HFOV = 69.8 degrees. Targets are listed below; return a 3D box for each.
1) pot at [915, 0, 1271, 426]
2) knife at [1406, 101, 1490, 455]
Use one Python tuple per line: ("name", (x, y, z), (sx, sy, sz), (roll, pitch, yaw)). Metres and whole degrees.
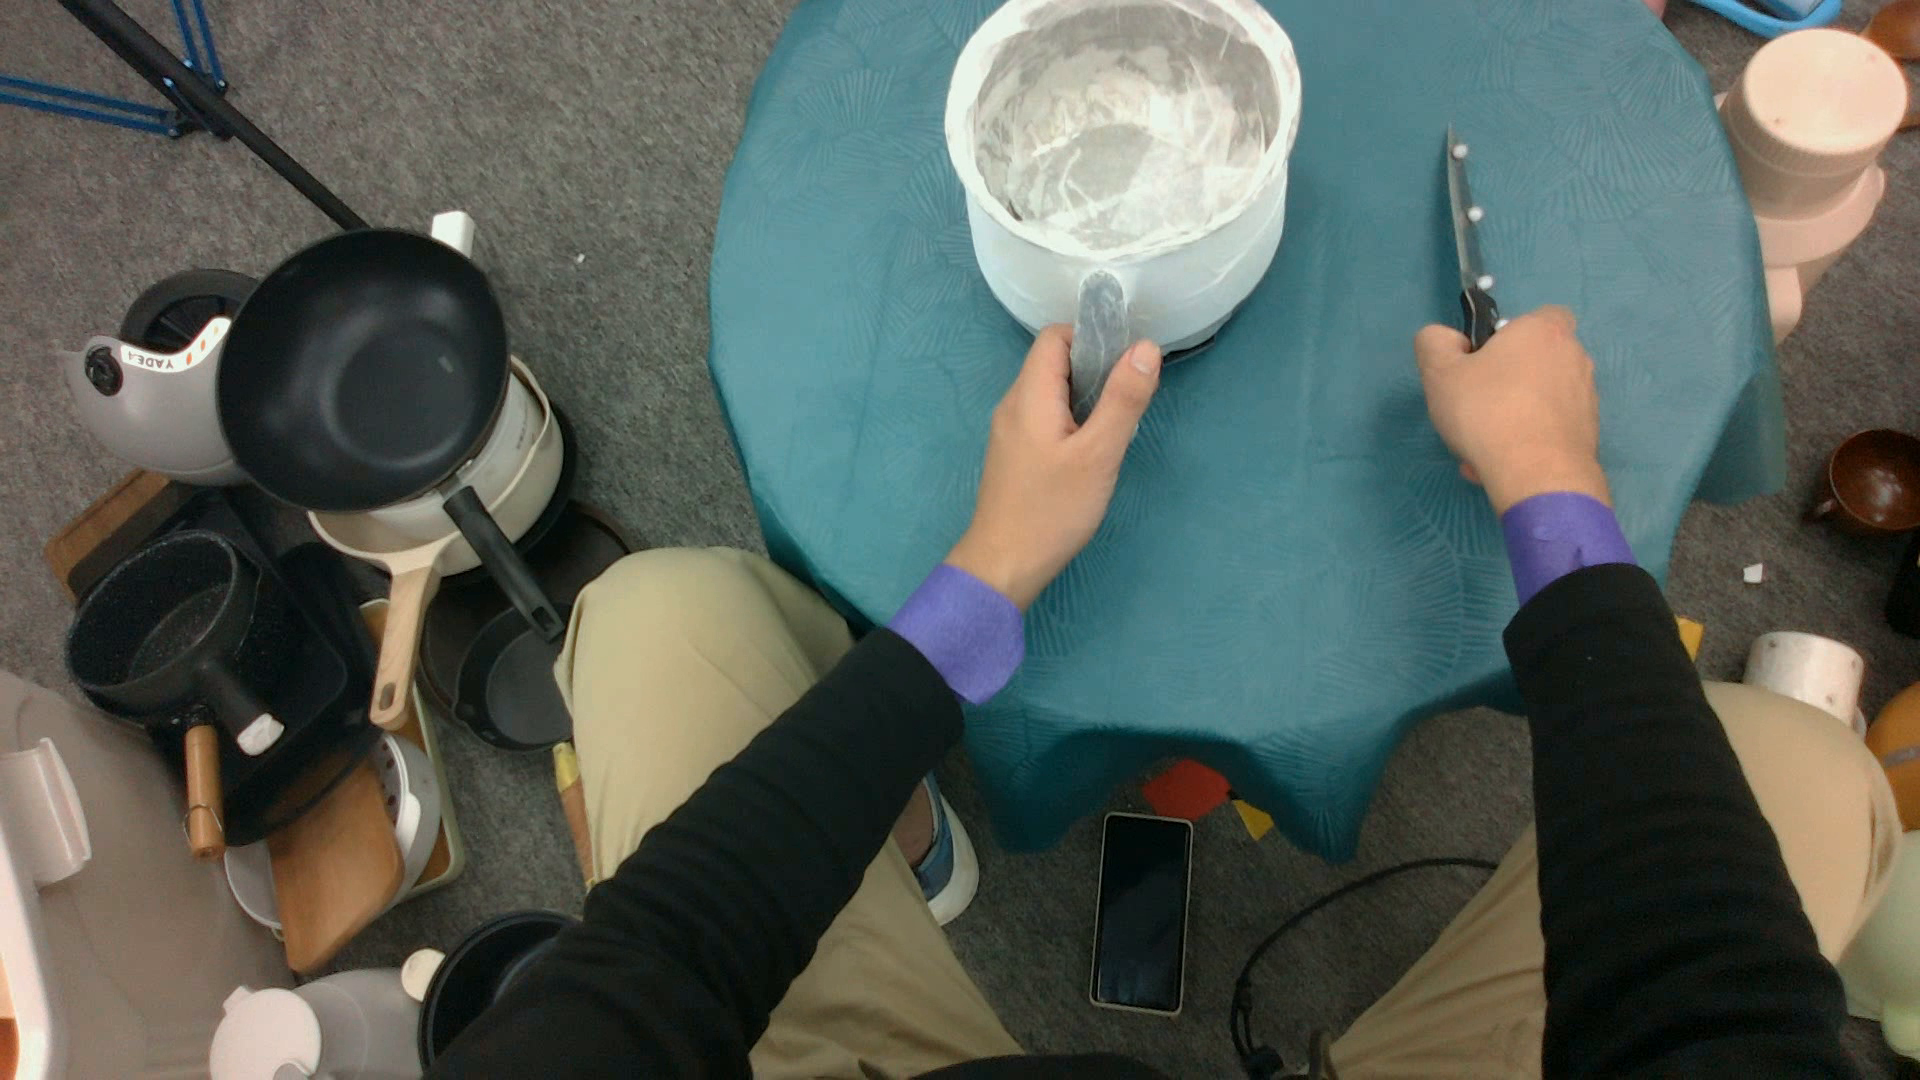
("pot", (0.071, -0.185, 0.739), (0.178, 0.136, 0.234), (2, 71, 9))
("knife", (0.264, -0.150, 0.755), (0.024, 0.016, 0.239), (18, 59, -30))
